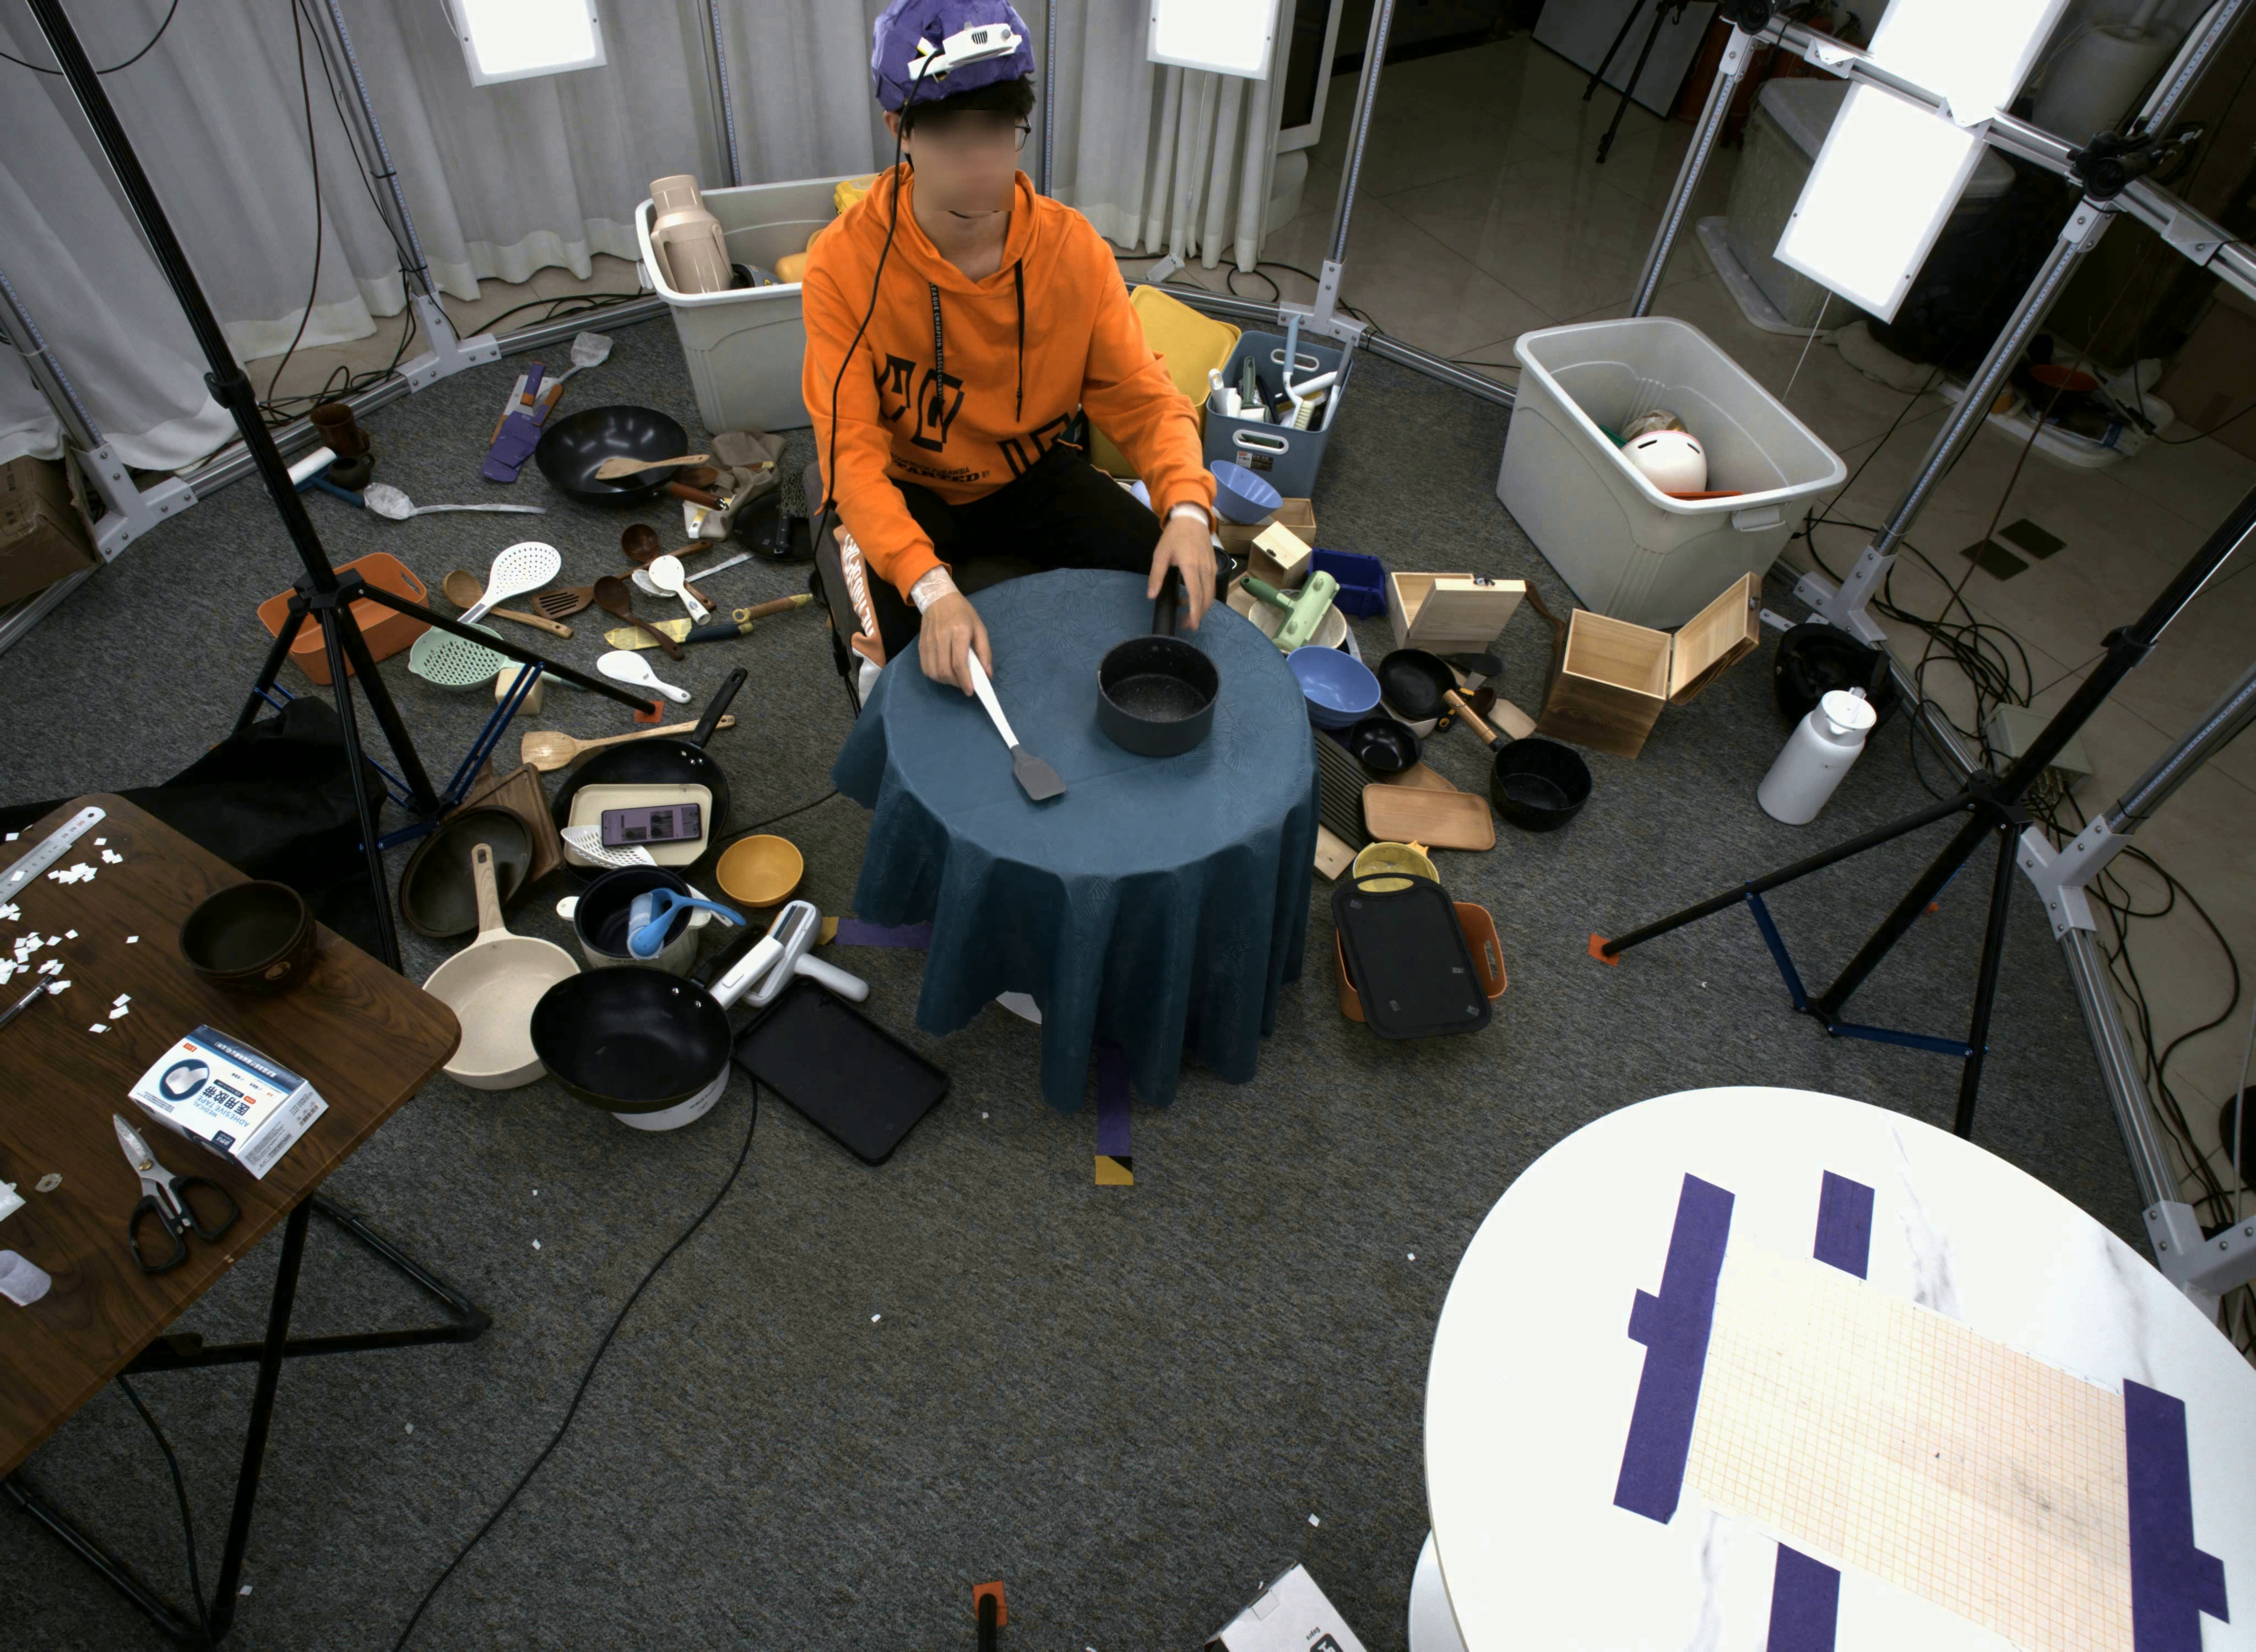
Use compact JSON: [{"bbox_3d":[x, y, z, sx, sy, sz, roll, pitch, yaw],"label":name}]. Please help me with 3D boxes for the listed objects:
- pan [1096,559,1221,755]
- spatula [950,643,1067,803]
[{"bbox_3d":[0.050,-0.244,1.829,0.172,0.084,0.336,8,51,2],"label":"pan"},{"bbox_3d":[-0.169,-0.140,1.752,0.059,0.031,0.293,-17,58,-26],"label":"spatula"}]
